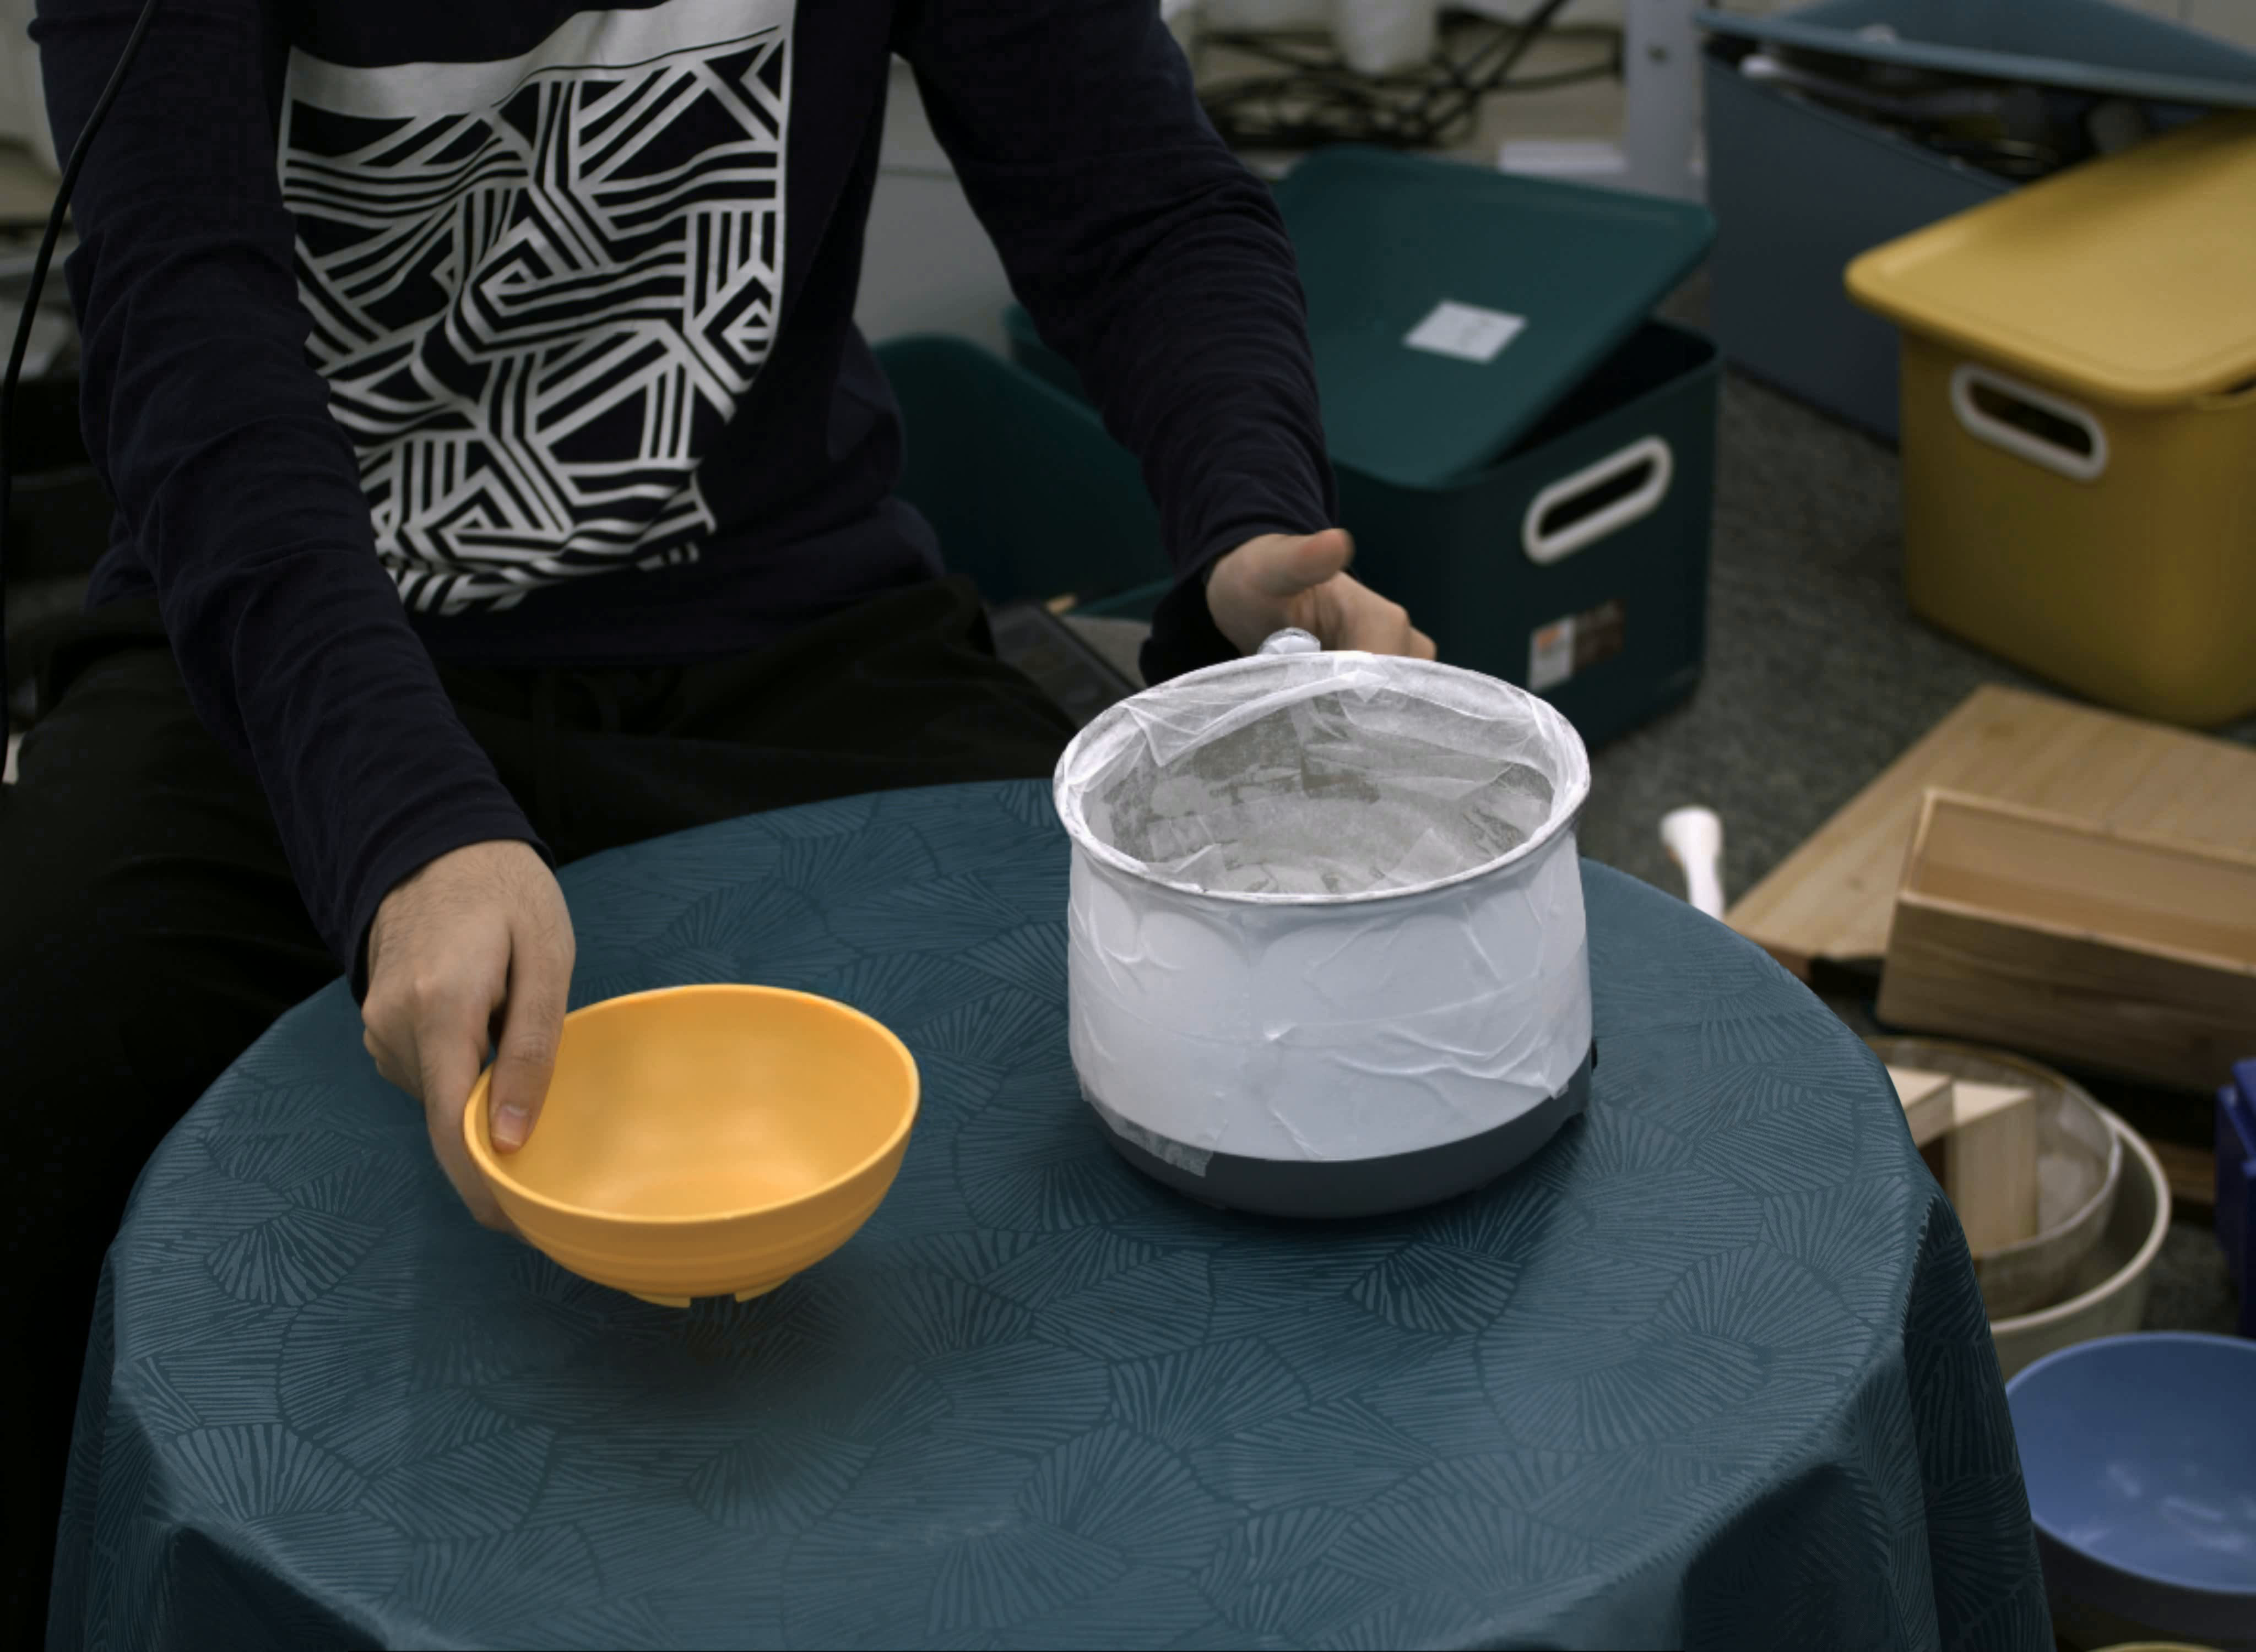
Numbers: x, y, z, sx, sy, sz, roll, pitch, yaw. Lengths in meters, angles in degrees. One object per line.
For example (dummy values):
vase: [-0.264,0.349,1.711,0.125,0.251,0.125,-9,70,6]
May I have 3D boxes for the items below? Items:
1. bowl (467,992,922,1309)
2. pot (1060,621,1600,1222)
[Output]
bowl: [-0.135,0.112,1.783,0.144,0.059,0.147,-3,26,2]
pot: [0.063,0.025,1.894,0.178,0.135,0.237,-2,28,-5]
